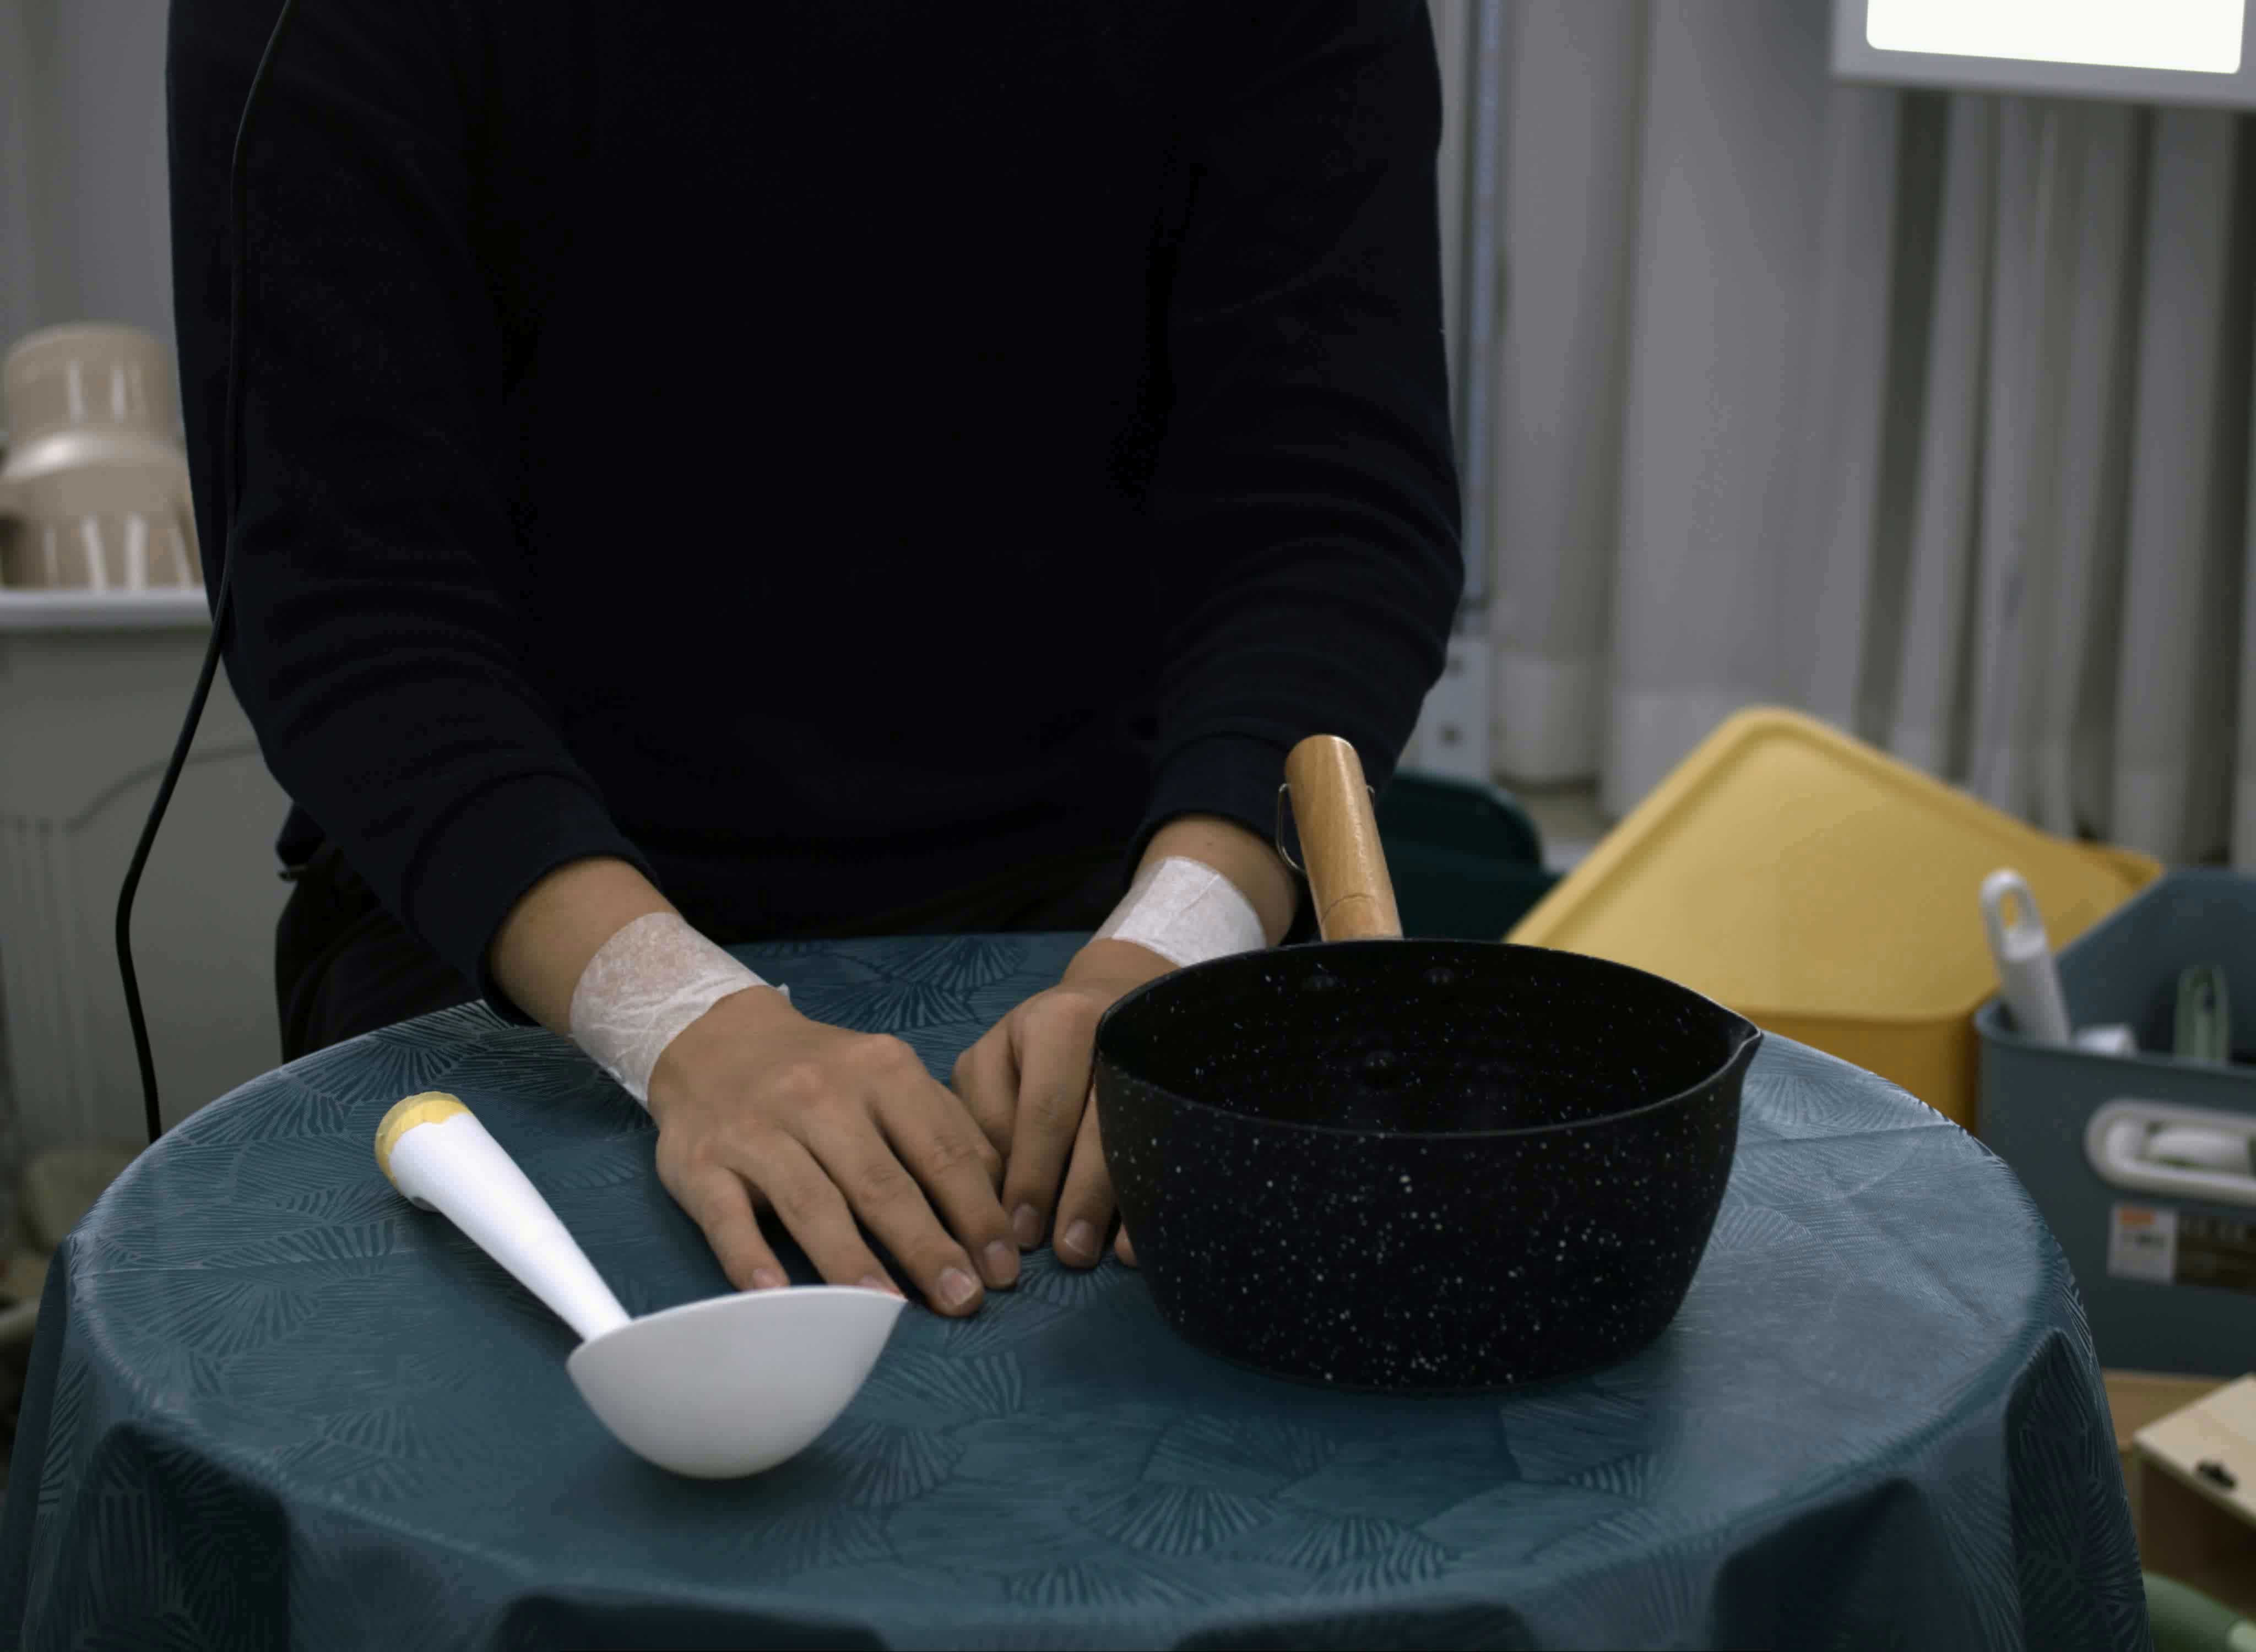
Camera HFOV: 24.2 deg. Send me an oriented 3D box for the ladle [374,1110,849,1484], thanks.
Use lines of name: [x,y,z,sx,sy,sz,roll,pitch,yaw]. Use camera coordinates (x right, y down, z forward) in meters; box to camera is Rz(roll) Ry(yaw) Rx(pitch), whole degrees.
ladle: [-0.160,0.117,1.481,0.090,0.070,0.289,-12,18,-21]

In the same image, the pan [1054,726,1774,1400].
pan: [0.075,0.066,1.590,0.207,0.109,0.340,-2,17,-6]
